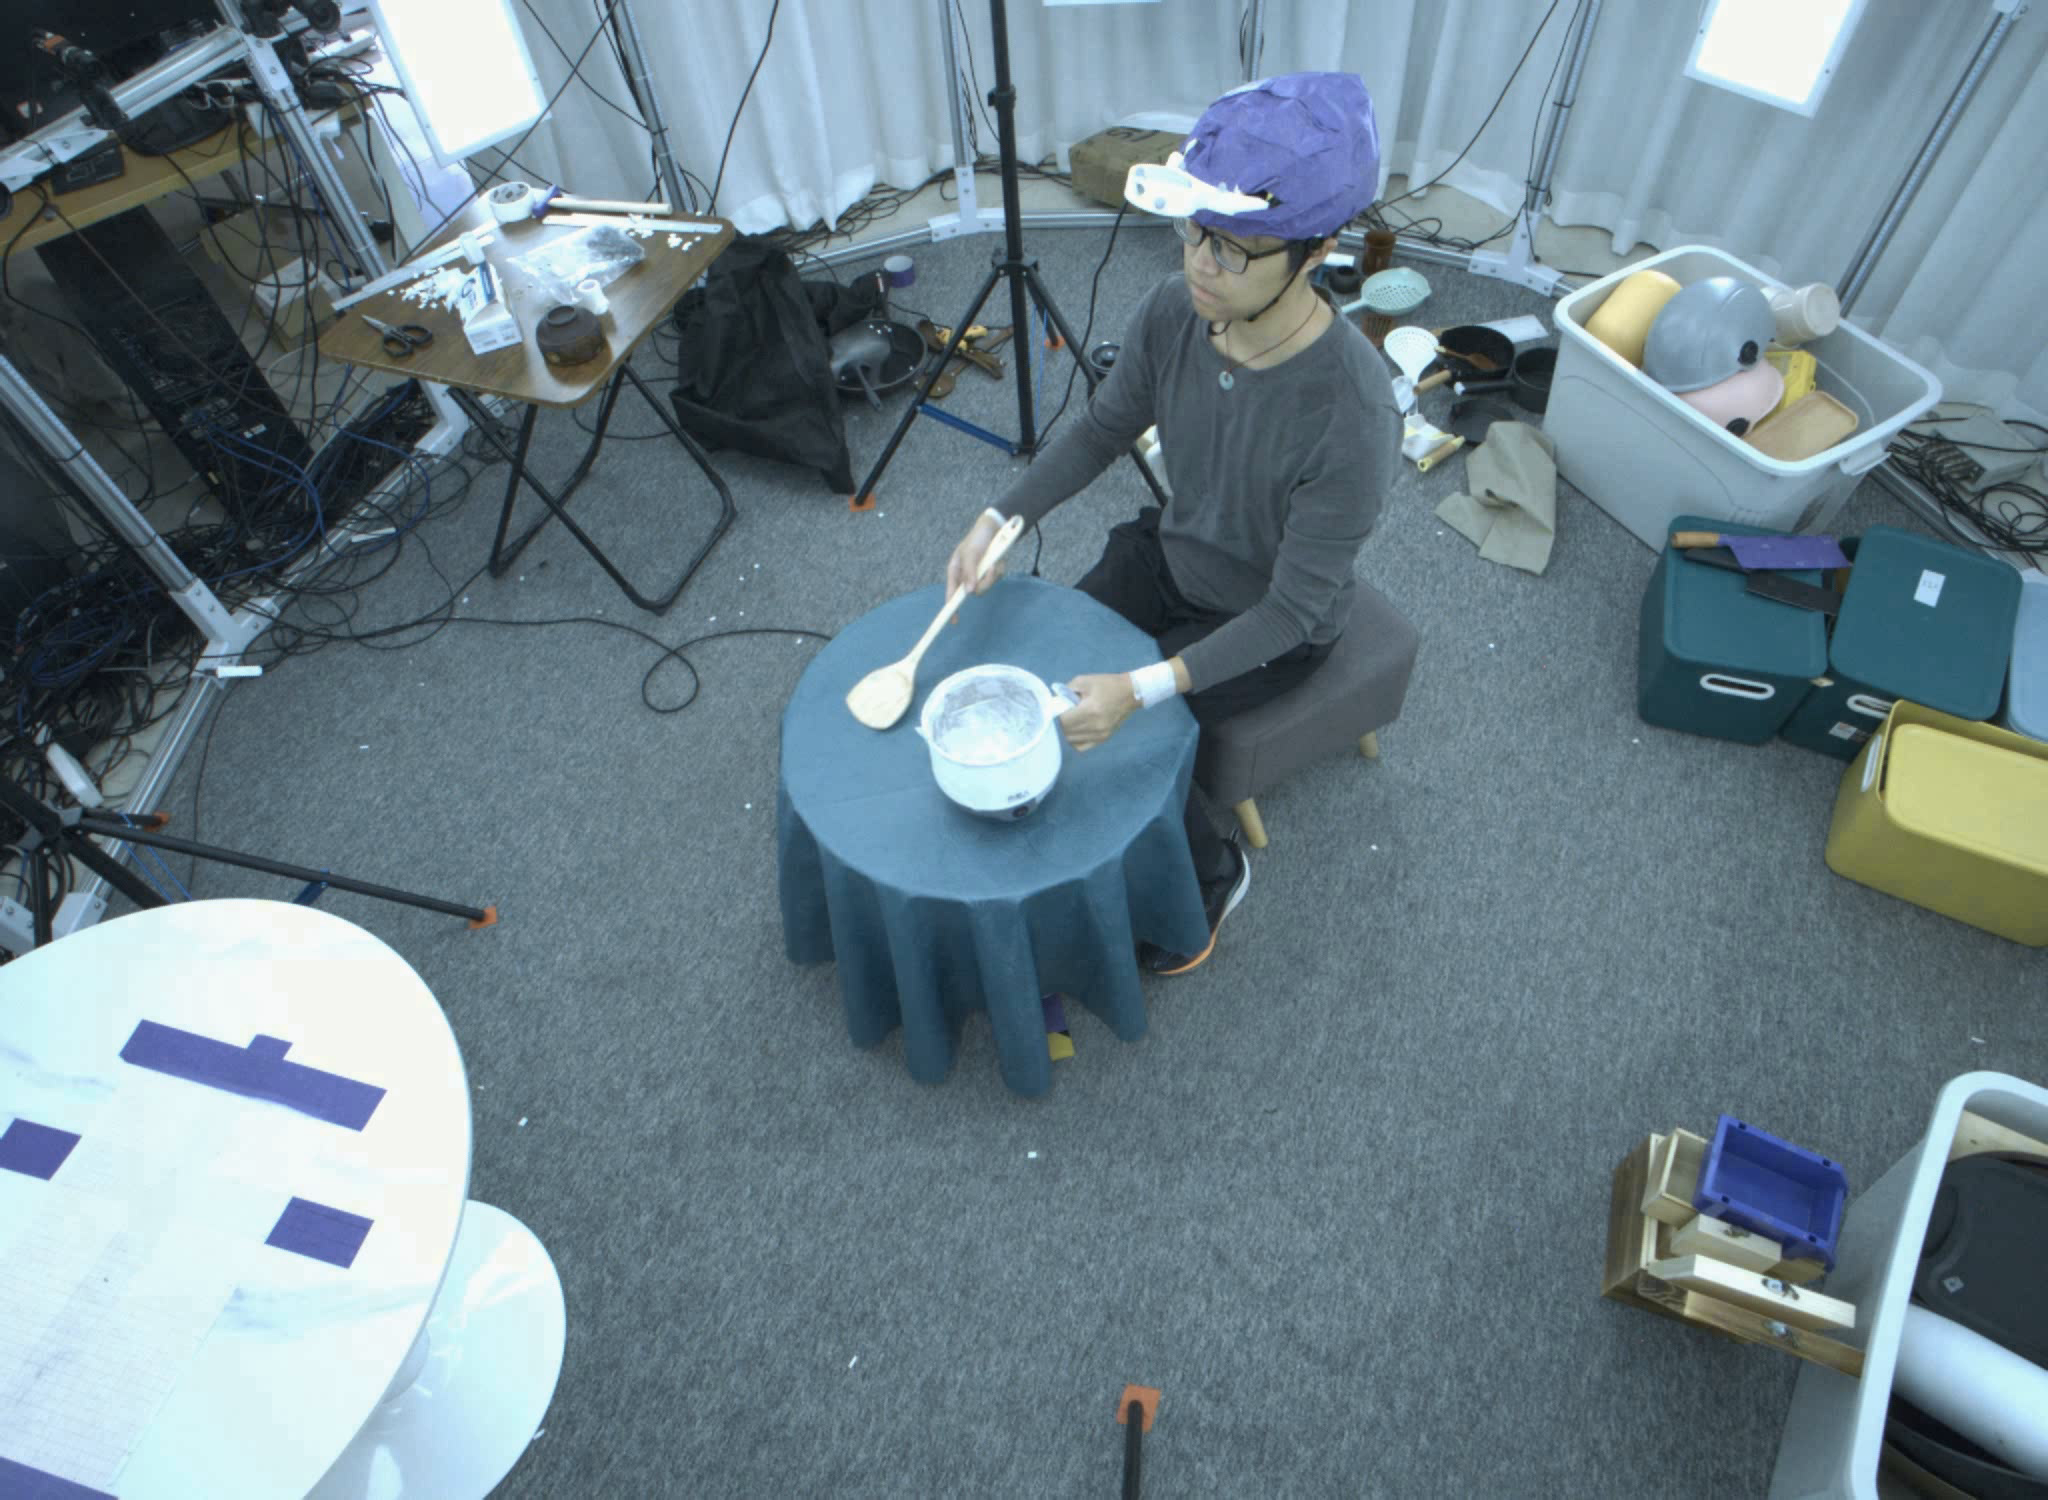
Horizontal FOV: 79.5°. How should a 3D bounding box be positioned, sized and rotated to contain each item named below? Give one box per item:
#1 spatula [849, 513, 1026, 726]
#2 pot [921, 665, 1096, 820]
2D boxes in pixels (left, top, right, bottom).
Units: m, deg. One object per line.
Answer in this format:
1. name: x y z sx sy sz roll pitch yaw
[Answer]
1. spatula: -0.123 -0.204 1.845 0.094 0.019 0.391 35 88 23
2. pot: -0.016 -0.019 1.681 0.235 0.138 0.175 -21 52 -11
